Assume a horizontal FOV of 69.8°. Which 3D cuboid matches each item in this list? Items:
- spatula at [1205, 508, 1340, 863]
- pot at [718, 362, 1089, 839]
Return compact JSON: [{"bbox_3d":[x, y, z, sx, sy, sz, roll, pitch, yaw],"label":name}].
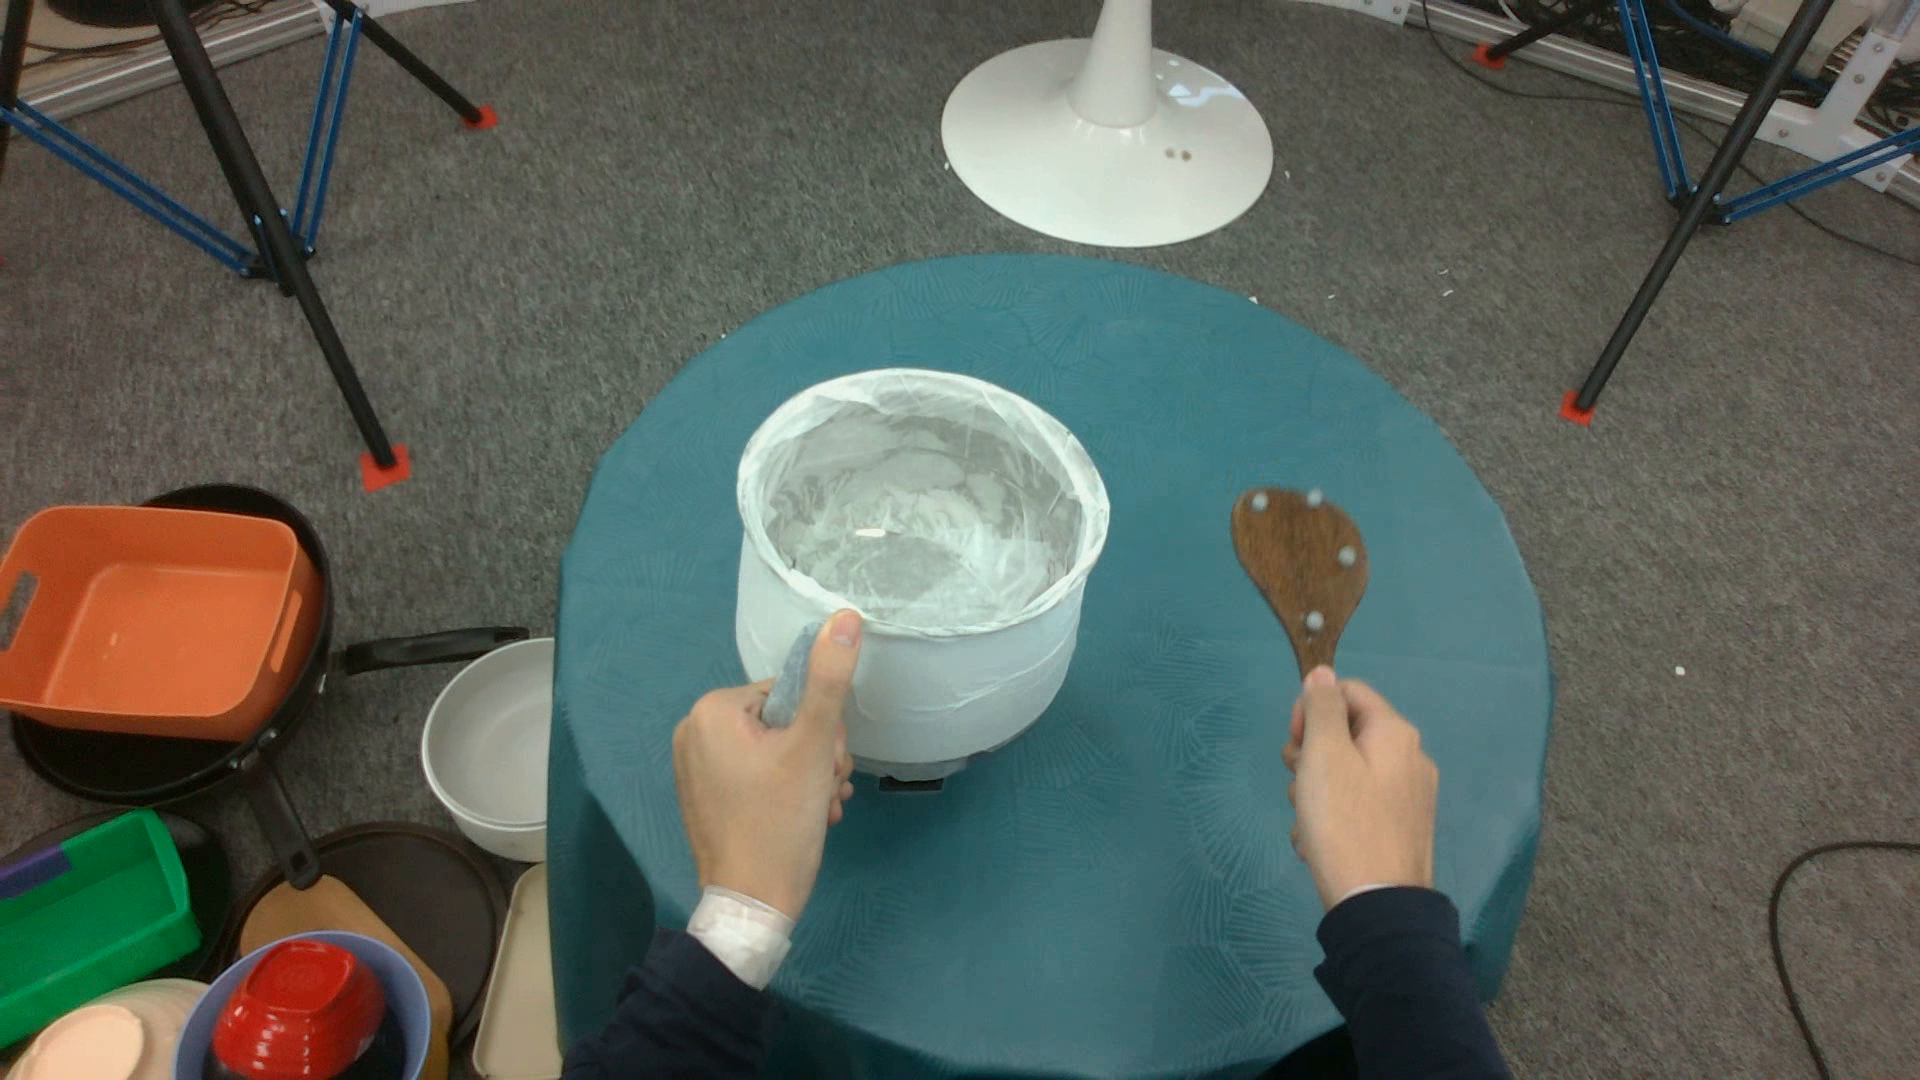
[{"bbox_3d":[0.162,0.063,0.685,0.072,0.009,0.217,7,49,-5],"label":"spatula"},{"bbox_3d":[-0.043,0.032,0.679,0.178,0.136,0.235,20,45,12],"label":"pot"}]
